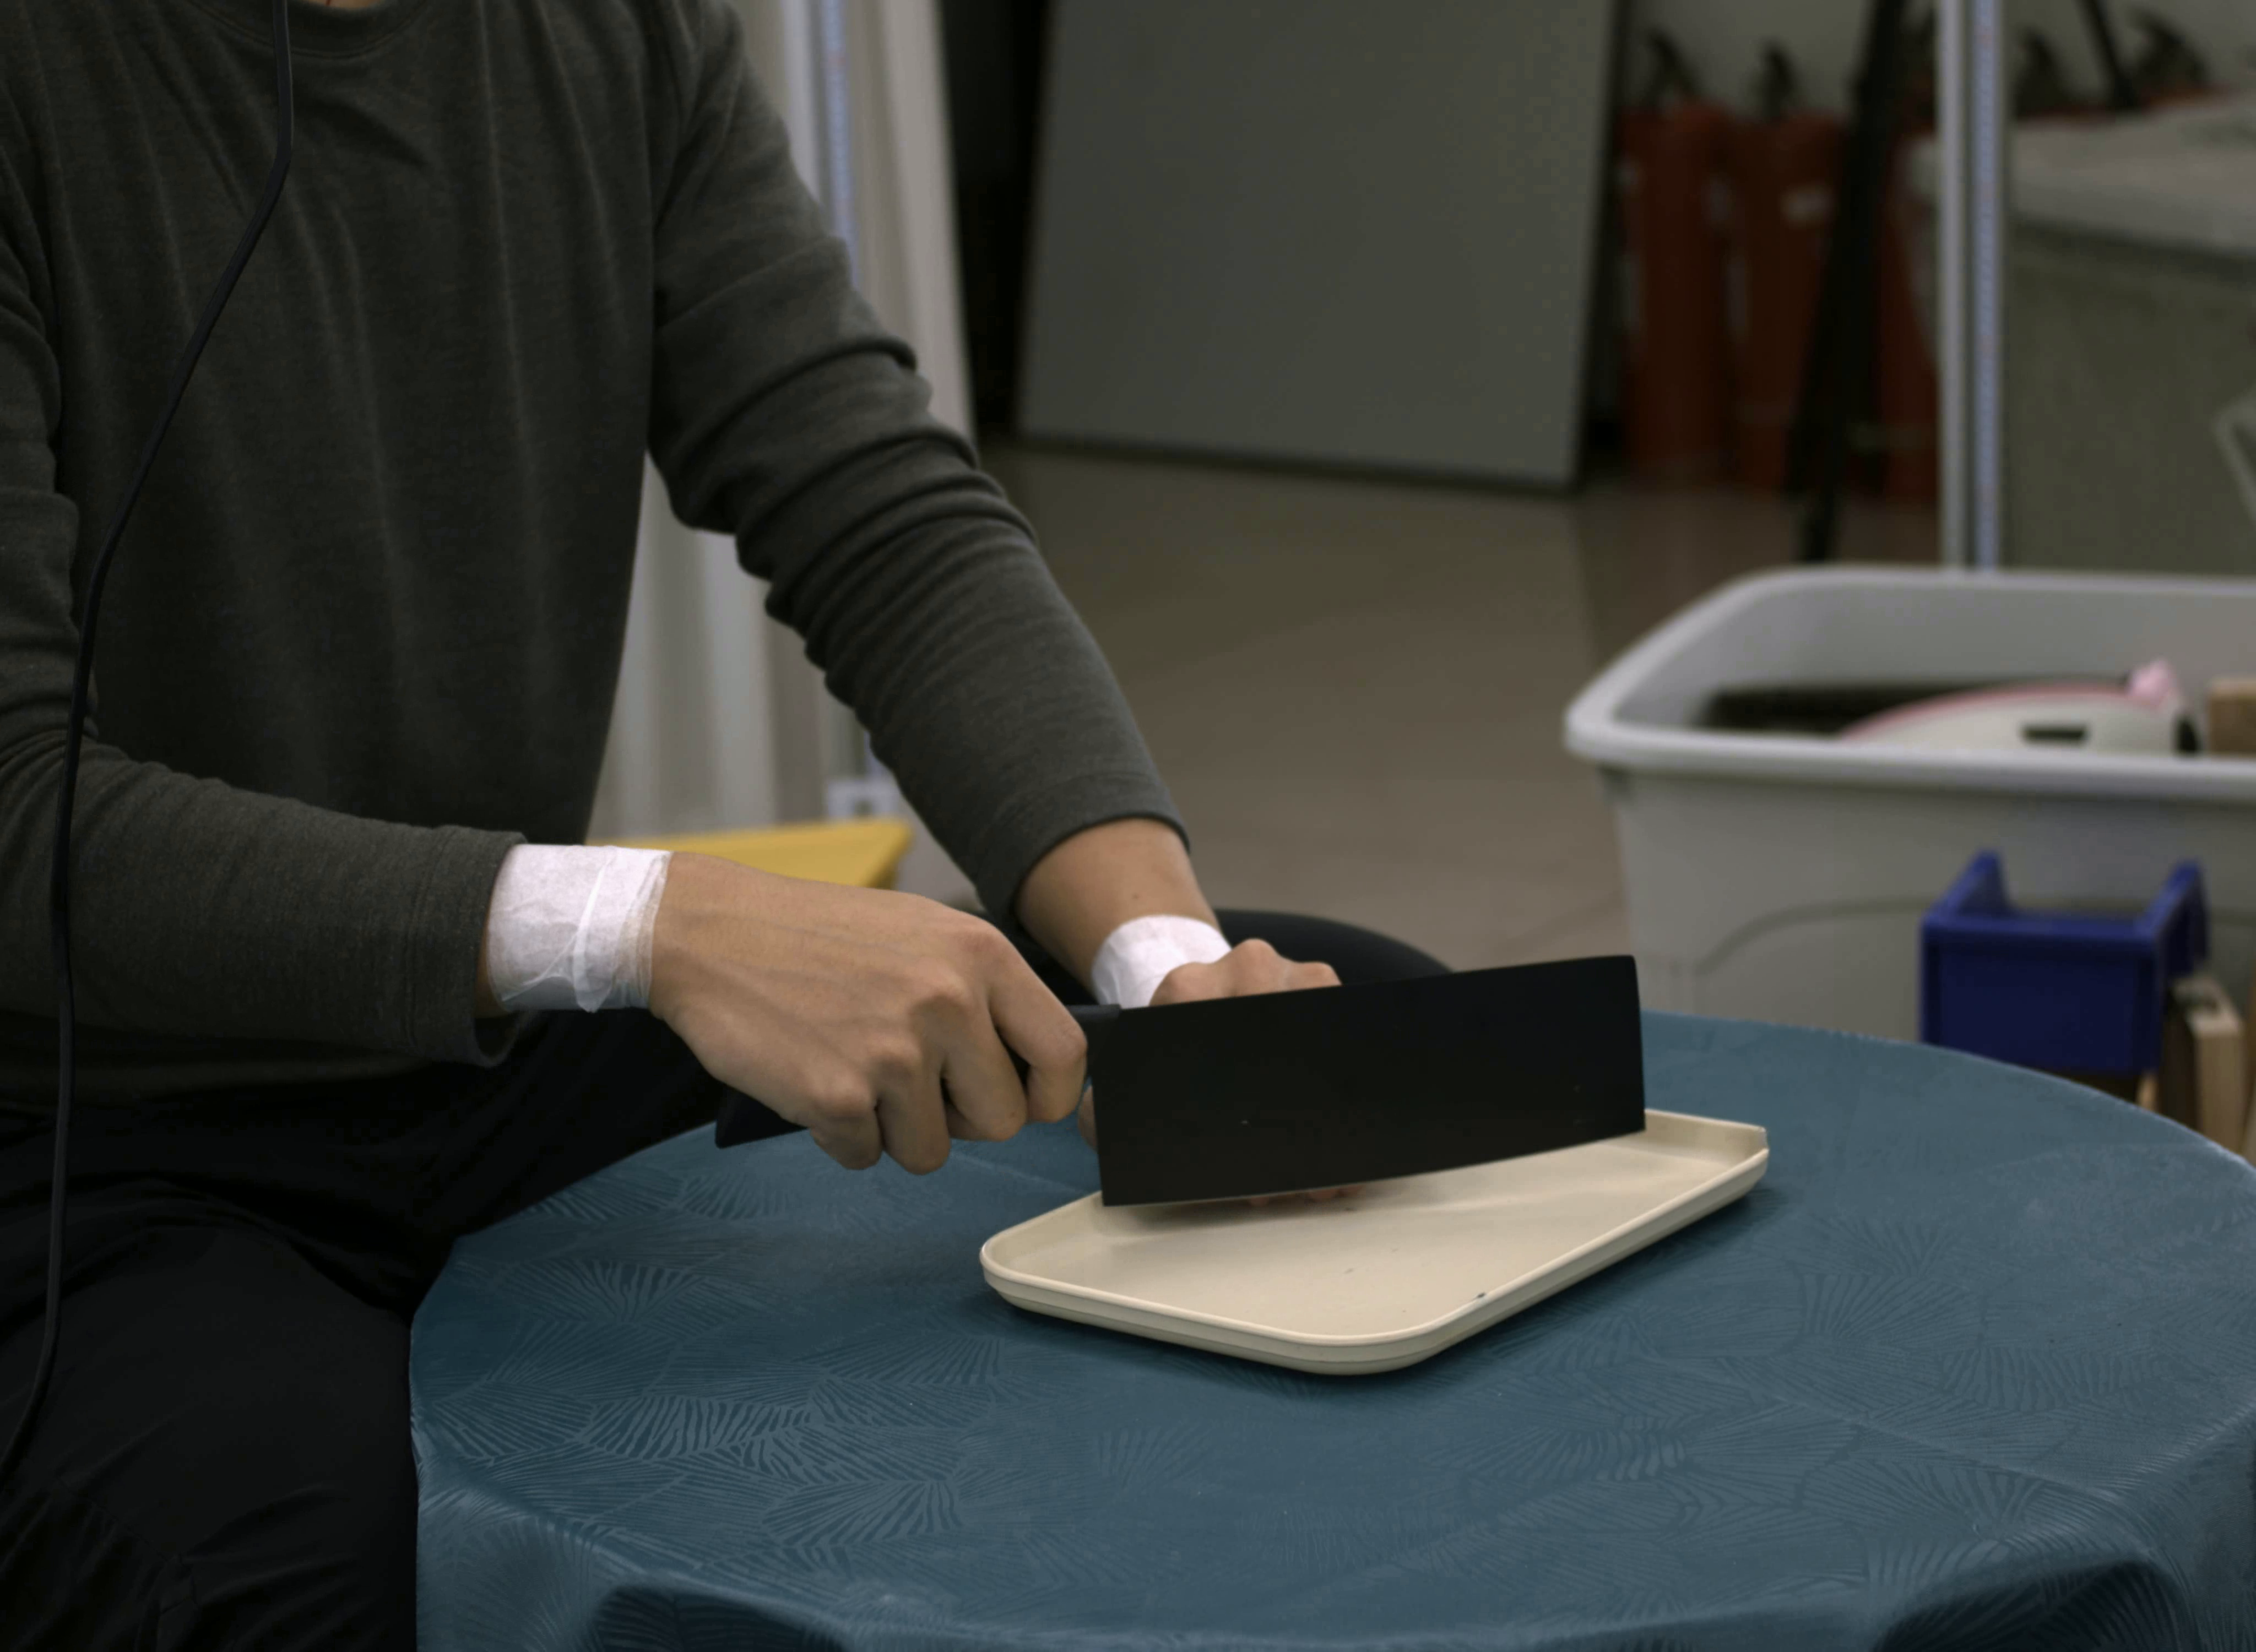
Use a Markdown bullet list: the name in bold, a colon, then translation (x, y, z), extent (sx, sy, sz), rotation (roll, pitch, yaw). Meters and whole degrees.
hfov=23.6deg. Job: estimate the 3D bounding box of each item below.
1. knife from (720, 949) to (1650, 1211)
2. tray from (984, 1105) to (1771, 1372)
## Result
- **knife**: translation (0.020, 0.083, 1.709), extent (0.297, 0.082, 0.021), rotation (-2, 9, -6)
- **tray**: translation (0.082, 0.124, 1.698), extent (0.172, 0.017, 0.235), rotation (6, 17, 39)
